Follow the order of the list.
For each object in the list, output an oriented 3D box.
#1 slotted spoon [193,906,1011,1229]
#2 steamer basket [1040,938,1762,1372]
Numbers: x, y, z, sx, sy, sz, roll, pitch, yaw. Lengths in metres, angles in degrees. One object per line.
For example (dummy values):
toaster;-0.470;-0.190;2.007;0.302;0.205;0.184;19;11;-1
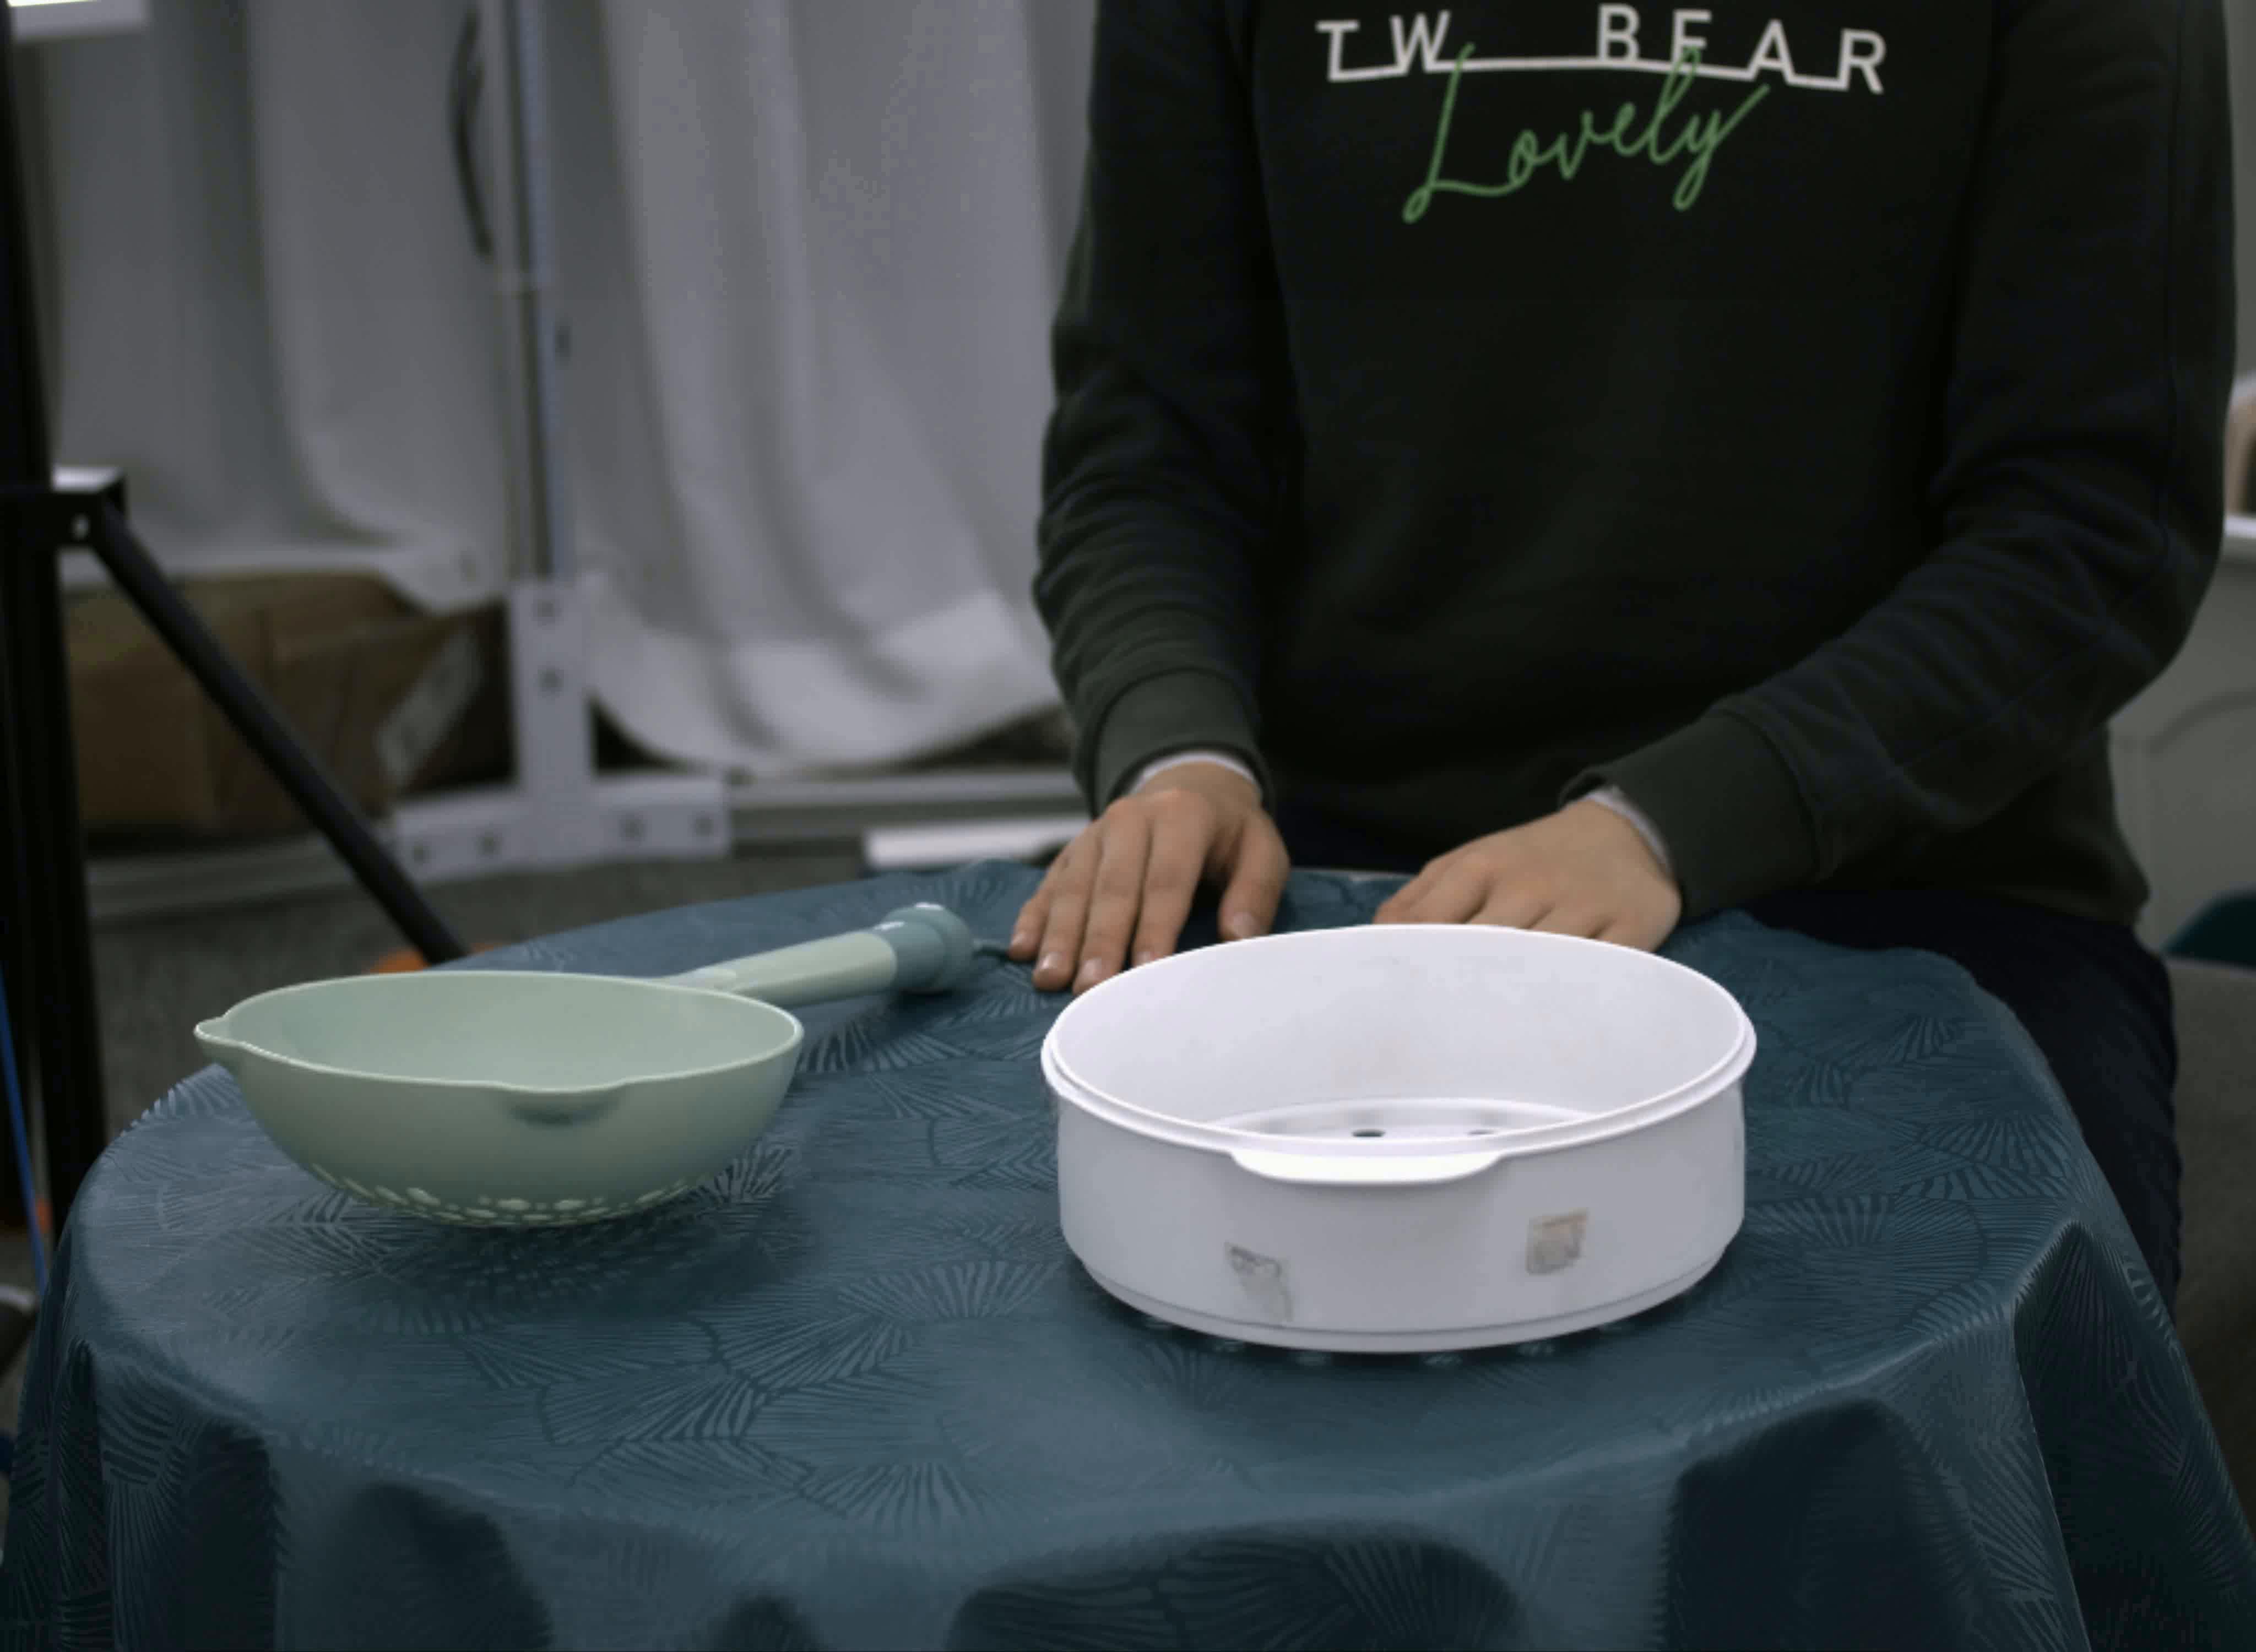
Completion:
slotted spoon;-0.132;0.058;1.637;0.172;0.075;0.352;7;18;29
steamer basket;0.076;0.092;1.487;0.202;0.069;0.230;1;16;8
